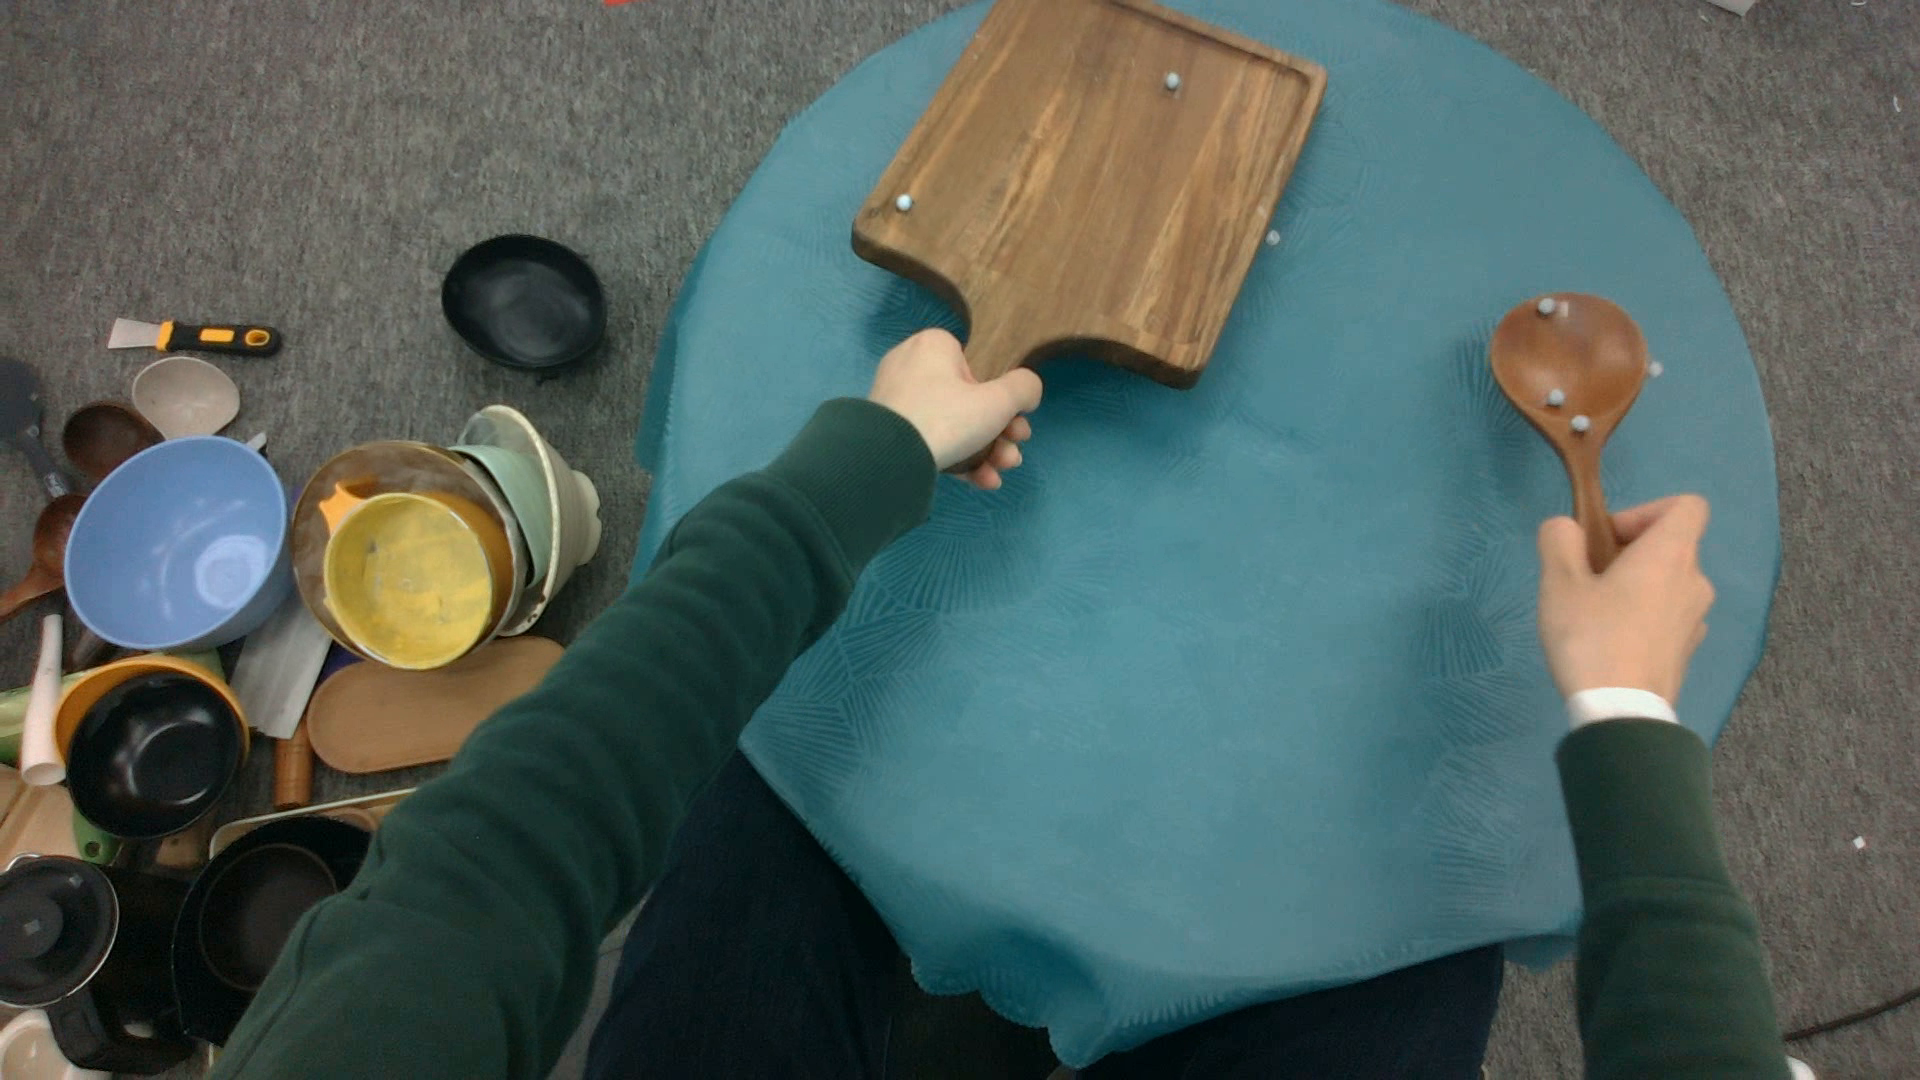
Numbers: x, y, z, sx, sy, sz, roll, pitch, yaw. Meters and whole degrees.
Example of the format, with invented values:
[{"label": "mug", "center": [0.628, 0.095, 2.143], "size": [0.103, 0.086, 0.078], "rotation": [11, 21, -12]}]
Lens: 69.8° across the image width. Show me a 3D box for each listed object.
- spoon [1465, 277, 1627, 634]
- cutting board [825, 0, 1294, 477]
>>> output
[{"label": "spoon", "center": [0.286, -0.047, 0.655], "size": [0.075, 0.017, 0.217], "rotation": [-2, 52, 14]}, {"label": "cutting board", "center": [0.046, -0.174, 0.733], "size": [0.201, 0.023, 0.354], "rotation": [23, 59, 4]}]
